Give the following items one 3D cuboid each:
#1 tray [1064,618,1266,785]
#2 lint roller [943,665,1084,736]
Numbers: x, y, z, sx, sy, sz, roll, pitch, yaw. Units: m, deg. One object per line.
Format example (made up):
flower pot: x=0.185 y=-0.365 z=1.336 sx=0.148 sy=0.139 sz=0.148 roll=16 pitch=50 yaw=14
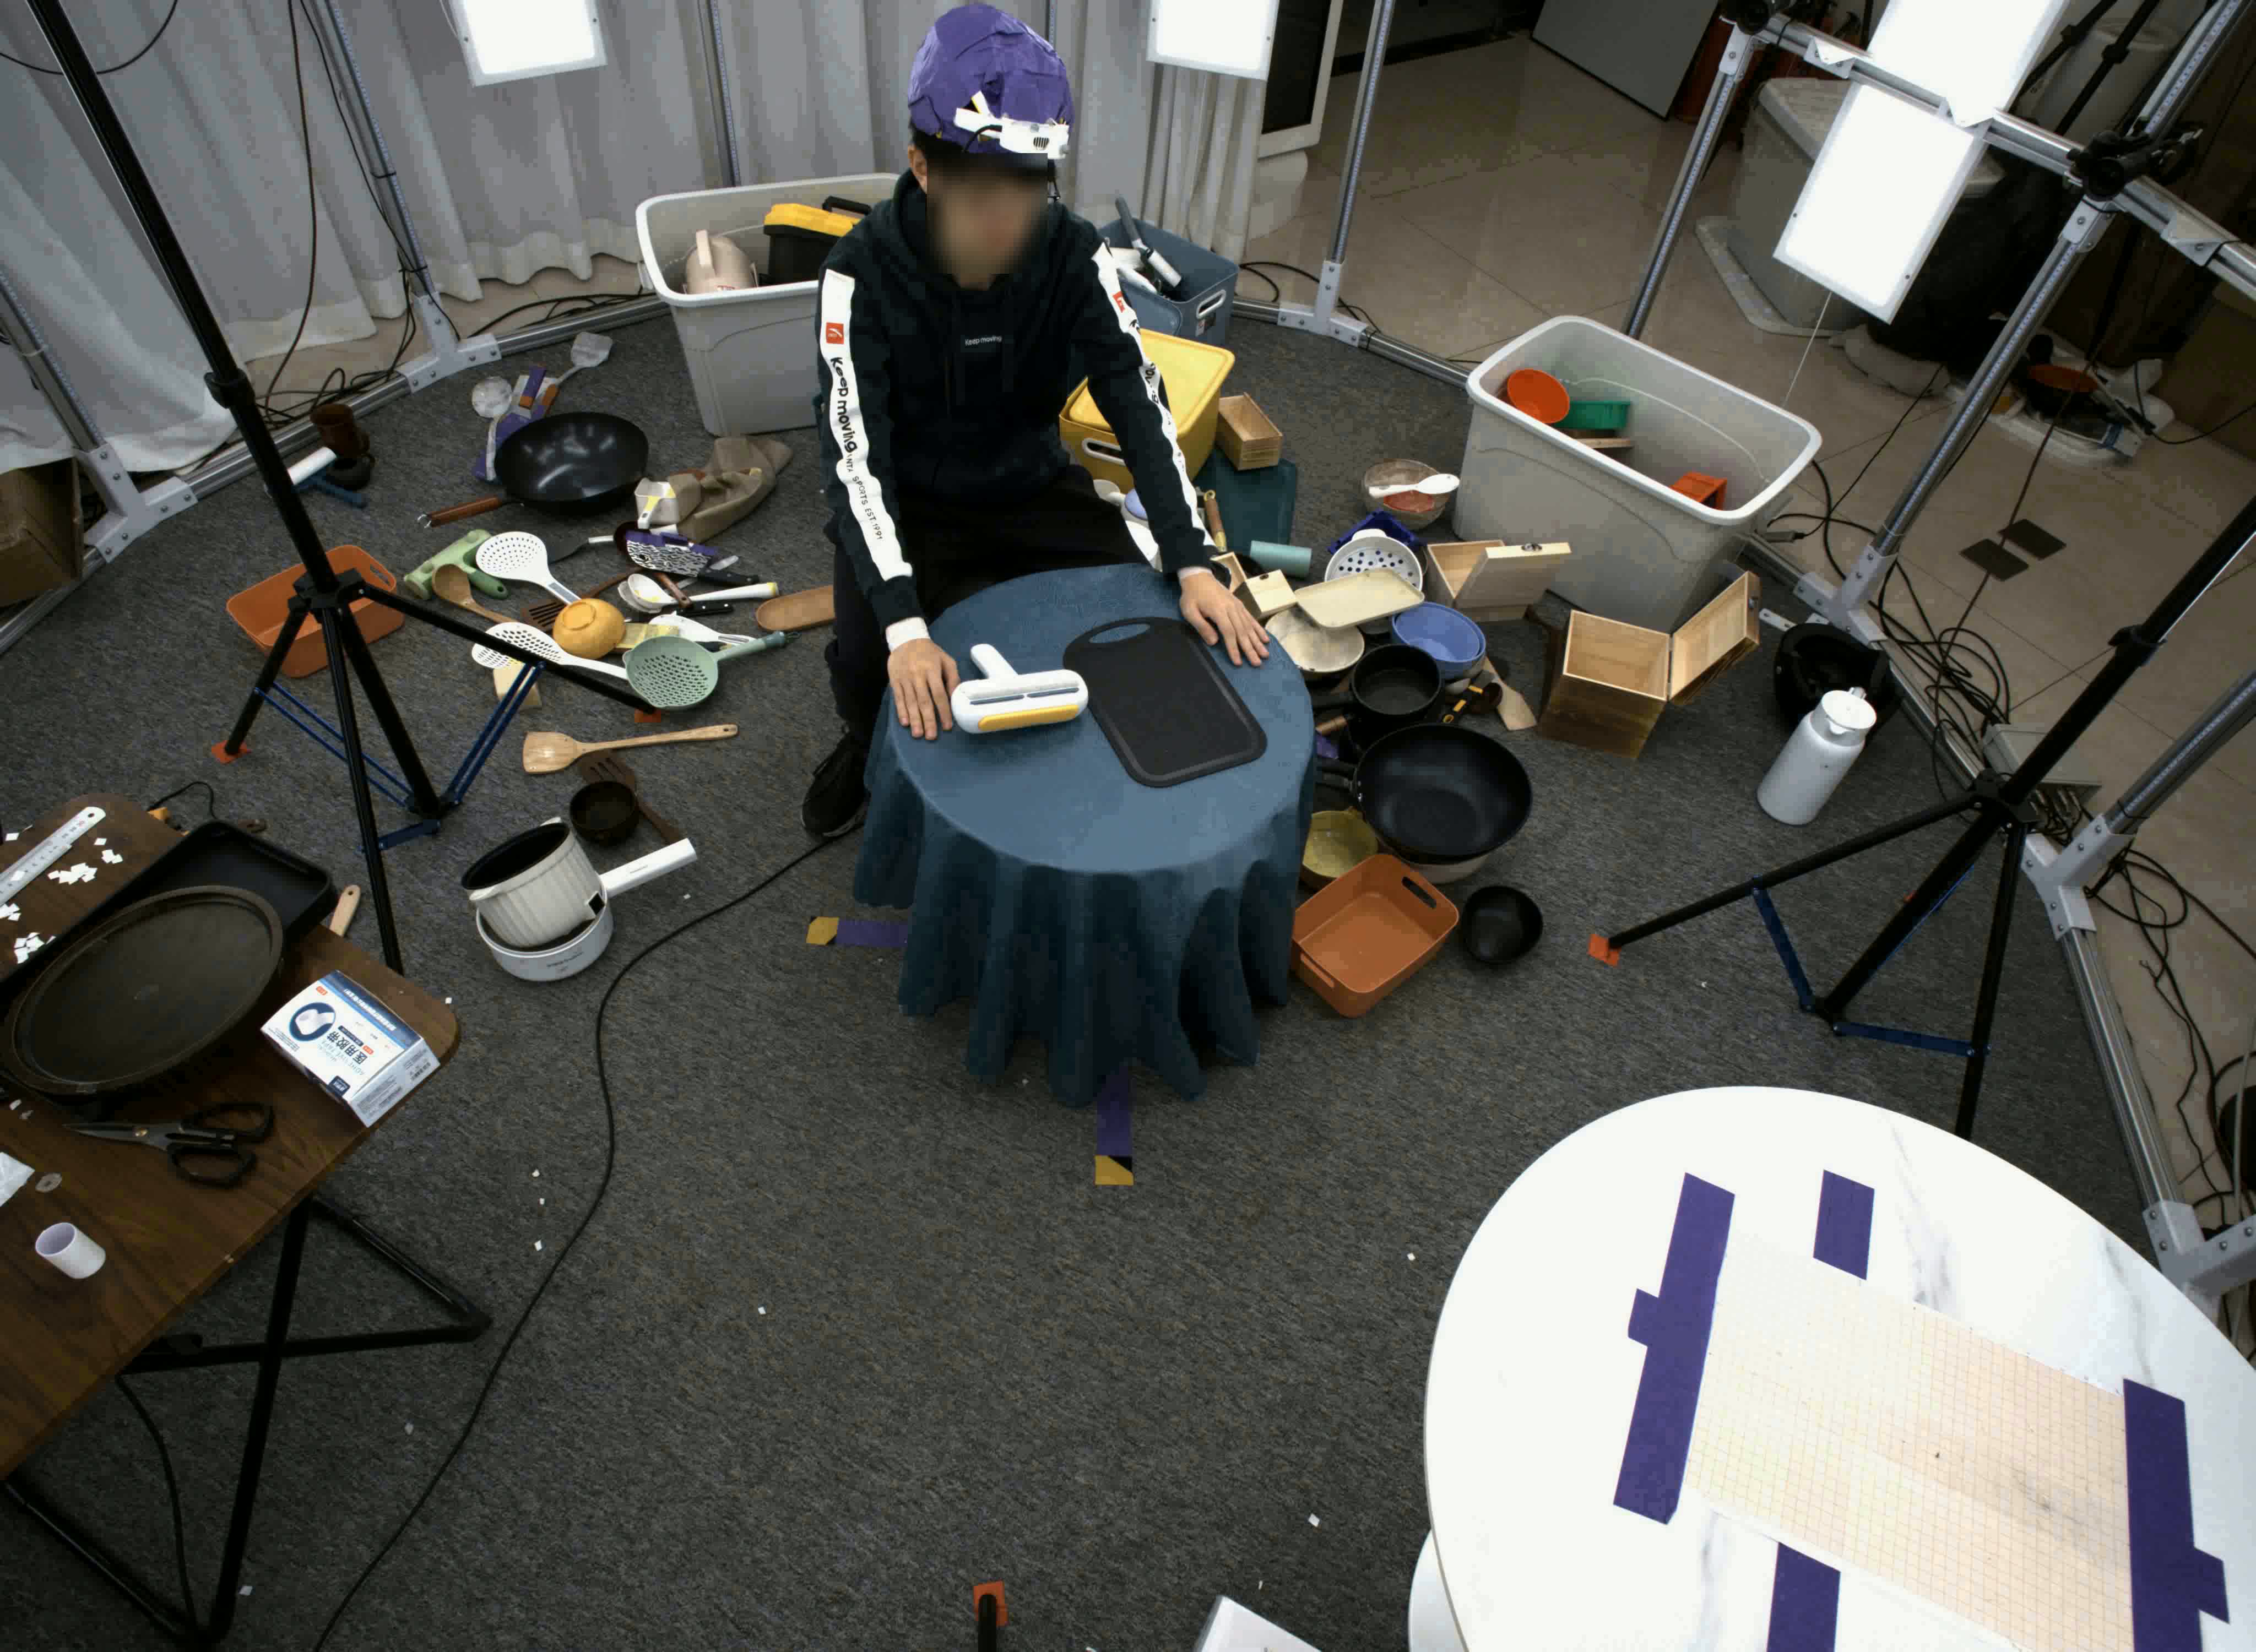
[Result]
tray: x=0.045 y=-0.190 z=1.831 sx=0.211 sy=0.009 sz=0.333 roll=-16 pitch=52 yaw=-17
lint roller: x=-0.174 y=-0.191 z=1.803 sx=0.192 sy=0.072 sz=0.197 roll=-7 pitch=36 yaw=-18
